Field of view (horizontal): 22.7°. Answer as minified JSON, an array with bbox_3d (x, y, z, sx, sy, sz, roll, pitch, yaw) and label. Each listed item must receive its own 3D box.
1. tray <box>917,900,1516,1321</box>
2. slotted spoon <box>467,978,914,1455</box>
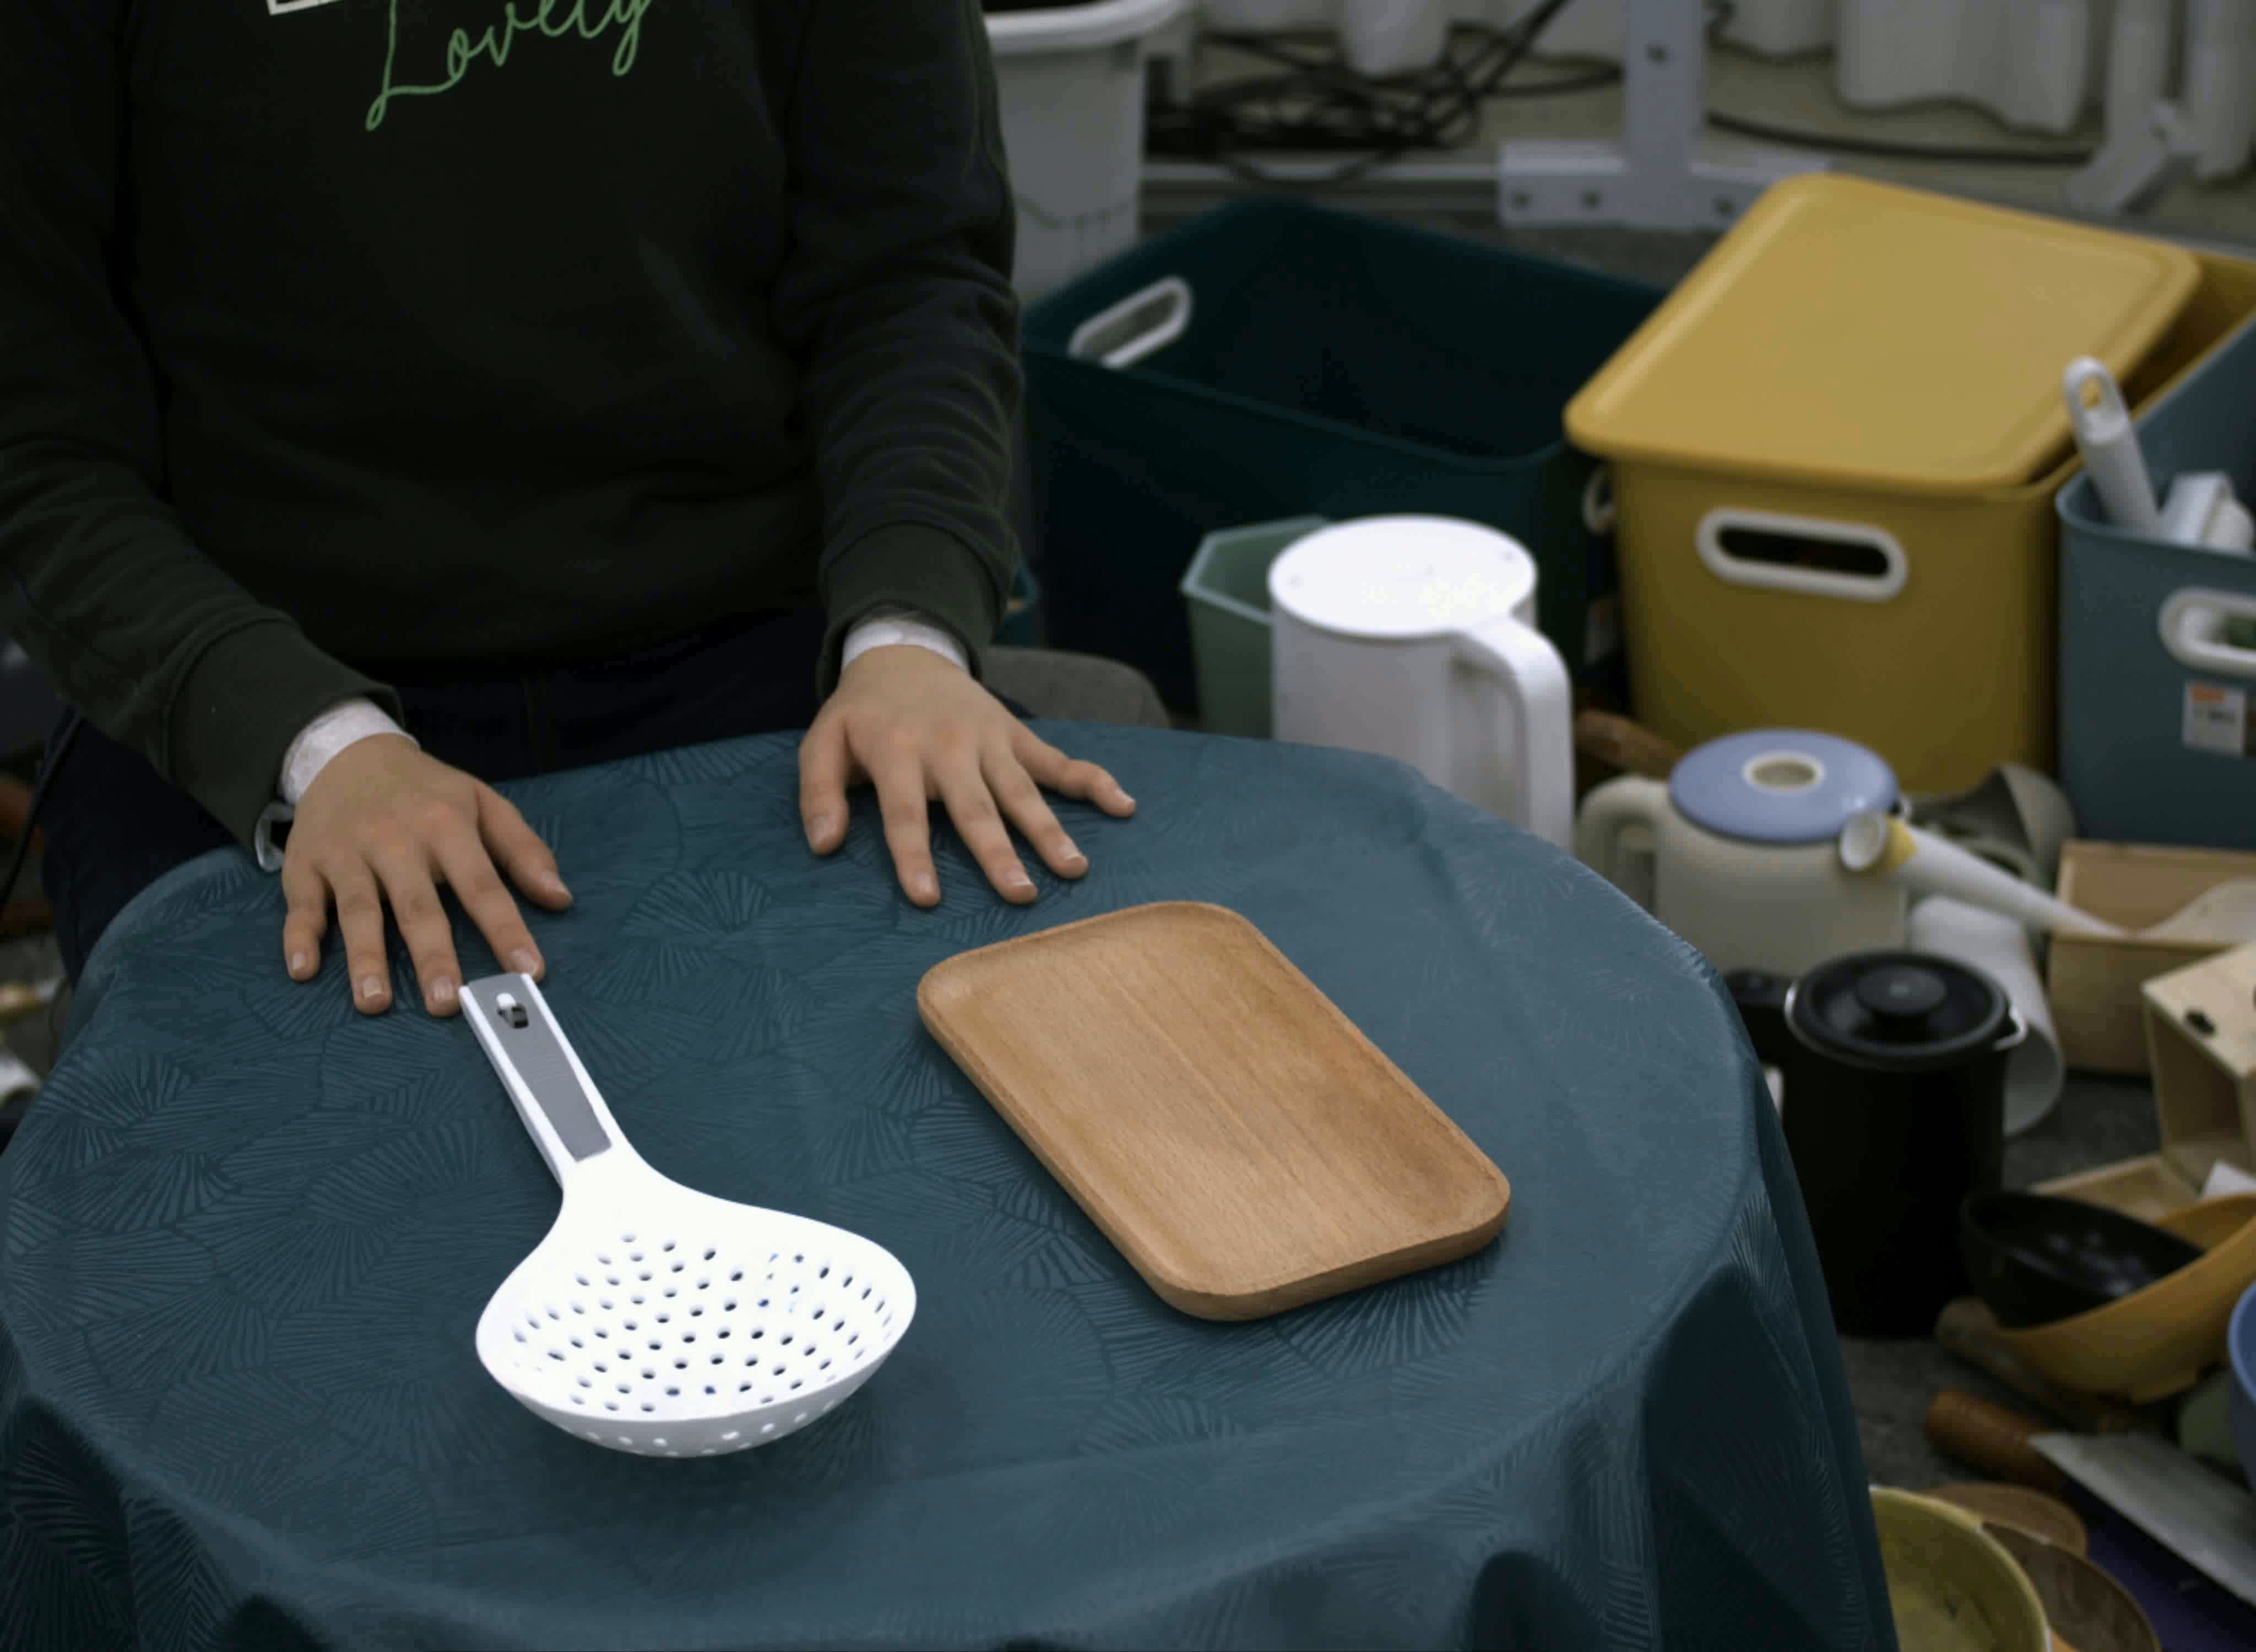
[{"bbox_3d":[0.026,0.093,1.895,0.131,0.022,0.252,-12,28,-21],"label":"tray"},{"bbox_3d":[-0.168,0.121,1.830,0.136,0.045,0.353,-9,27,-16],"label":"slotted spoon"}]
